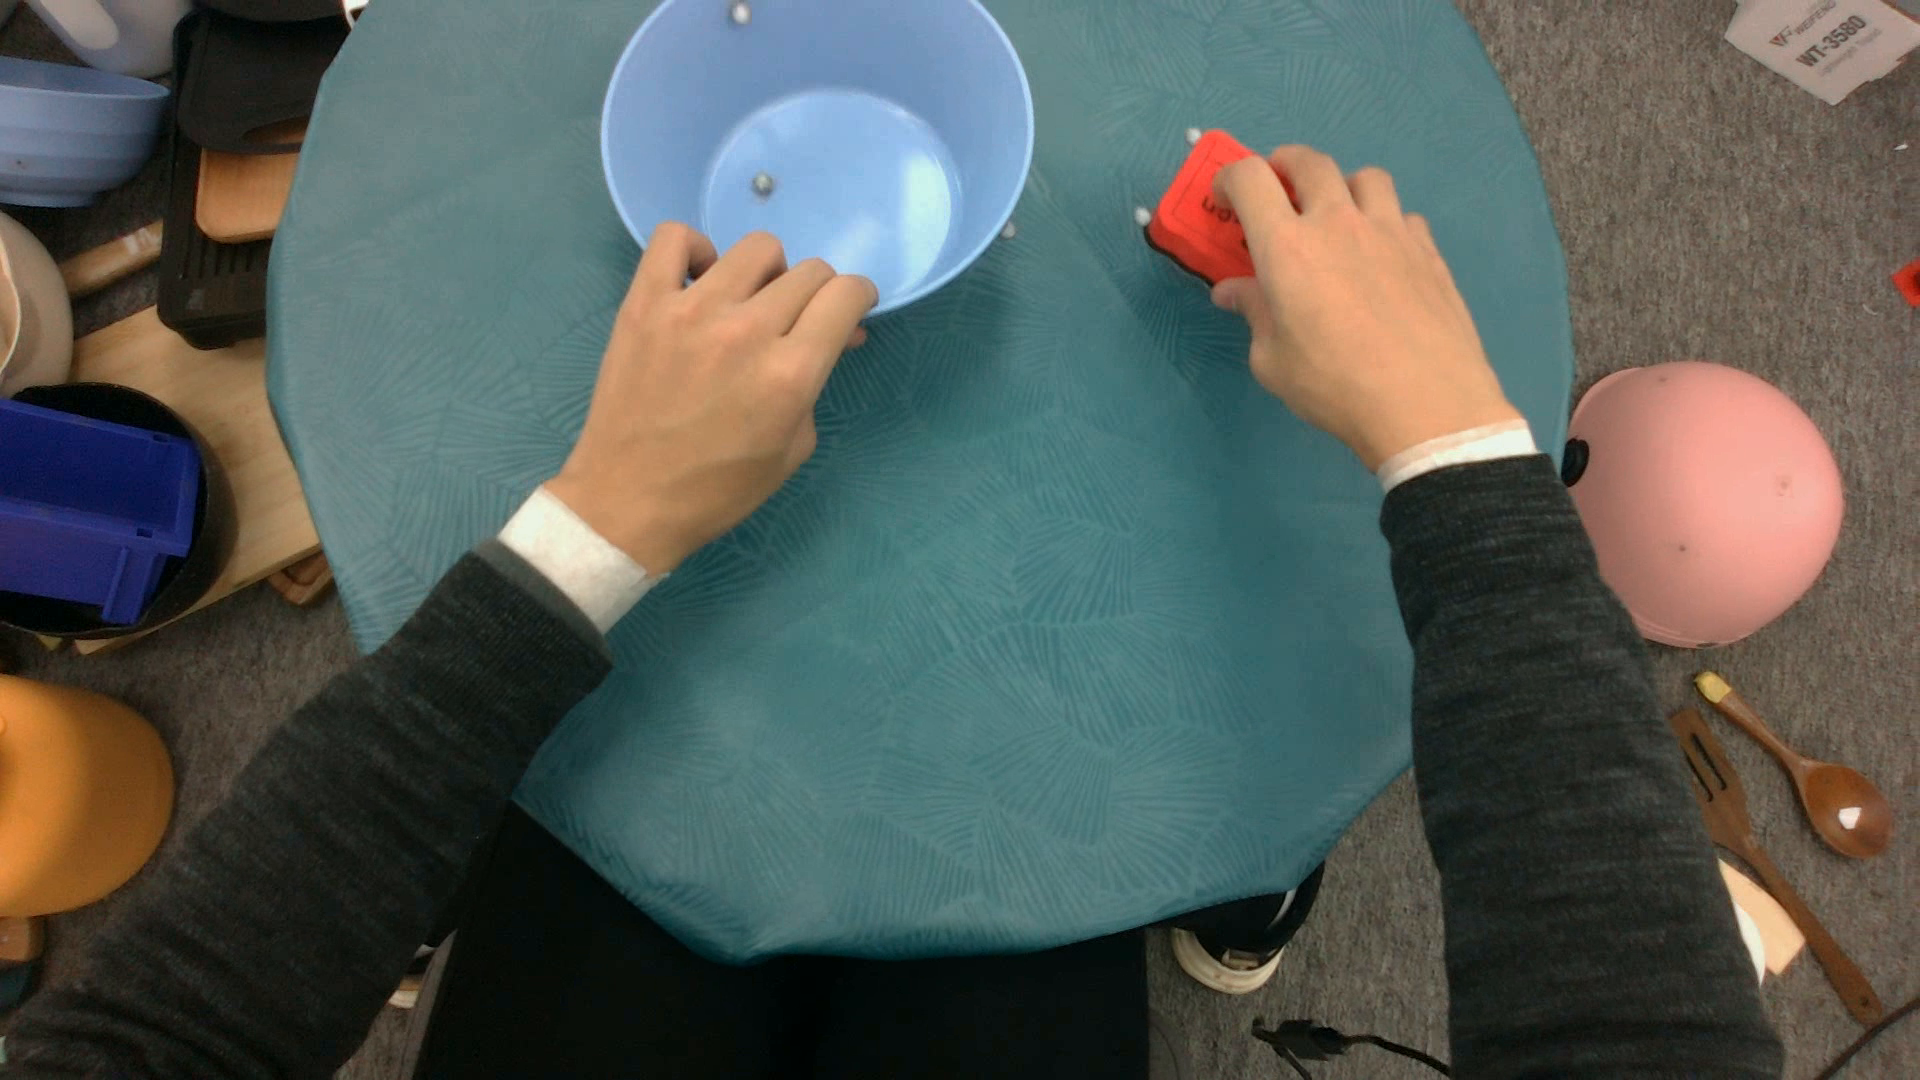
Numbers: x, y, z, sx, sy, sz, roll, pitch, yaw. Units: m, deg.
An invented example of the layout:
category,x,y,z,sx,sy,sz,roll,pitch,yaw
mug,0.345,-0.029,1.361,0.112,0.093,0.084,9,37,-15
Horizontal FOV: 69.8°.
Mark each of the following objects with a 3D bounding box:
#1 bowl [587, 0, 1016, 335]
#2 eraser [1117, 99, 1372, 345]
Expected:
category,x,y,z,sx,sy,sz,roll,pitch,yaw
bowl,-0.064,-0.155,0.588,0.176,0.070,0.176,0,71,1
eraser,0.124,-0.137,0.596,0.108,0.023,0.059,34,70,-10
